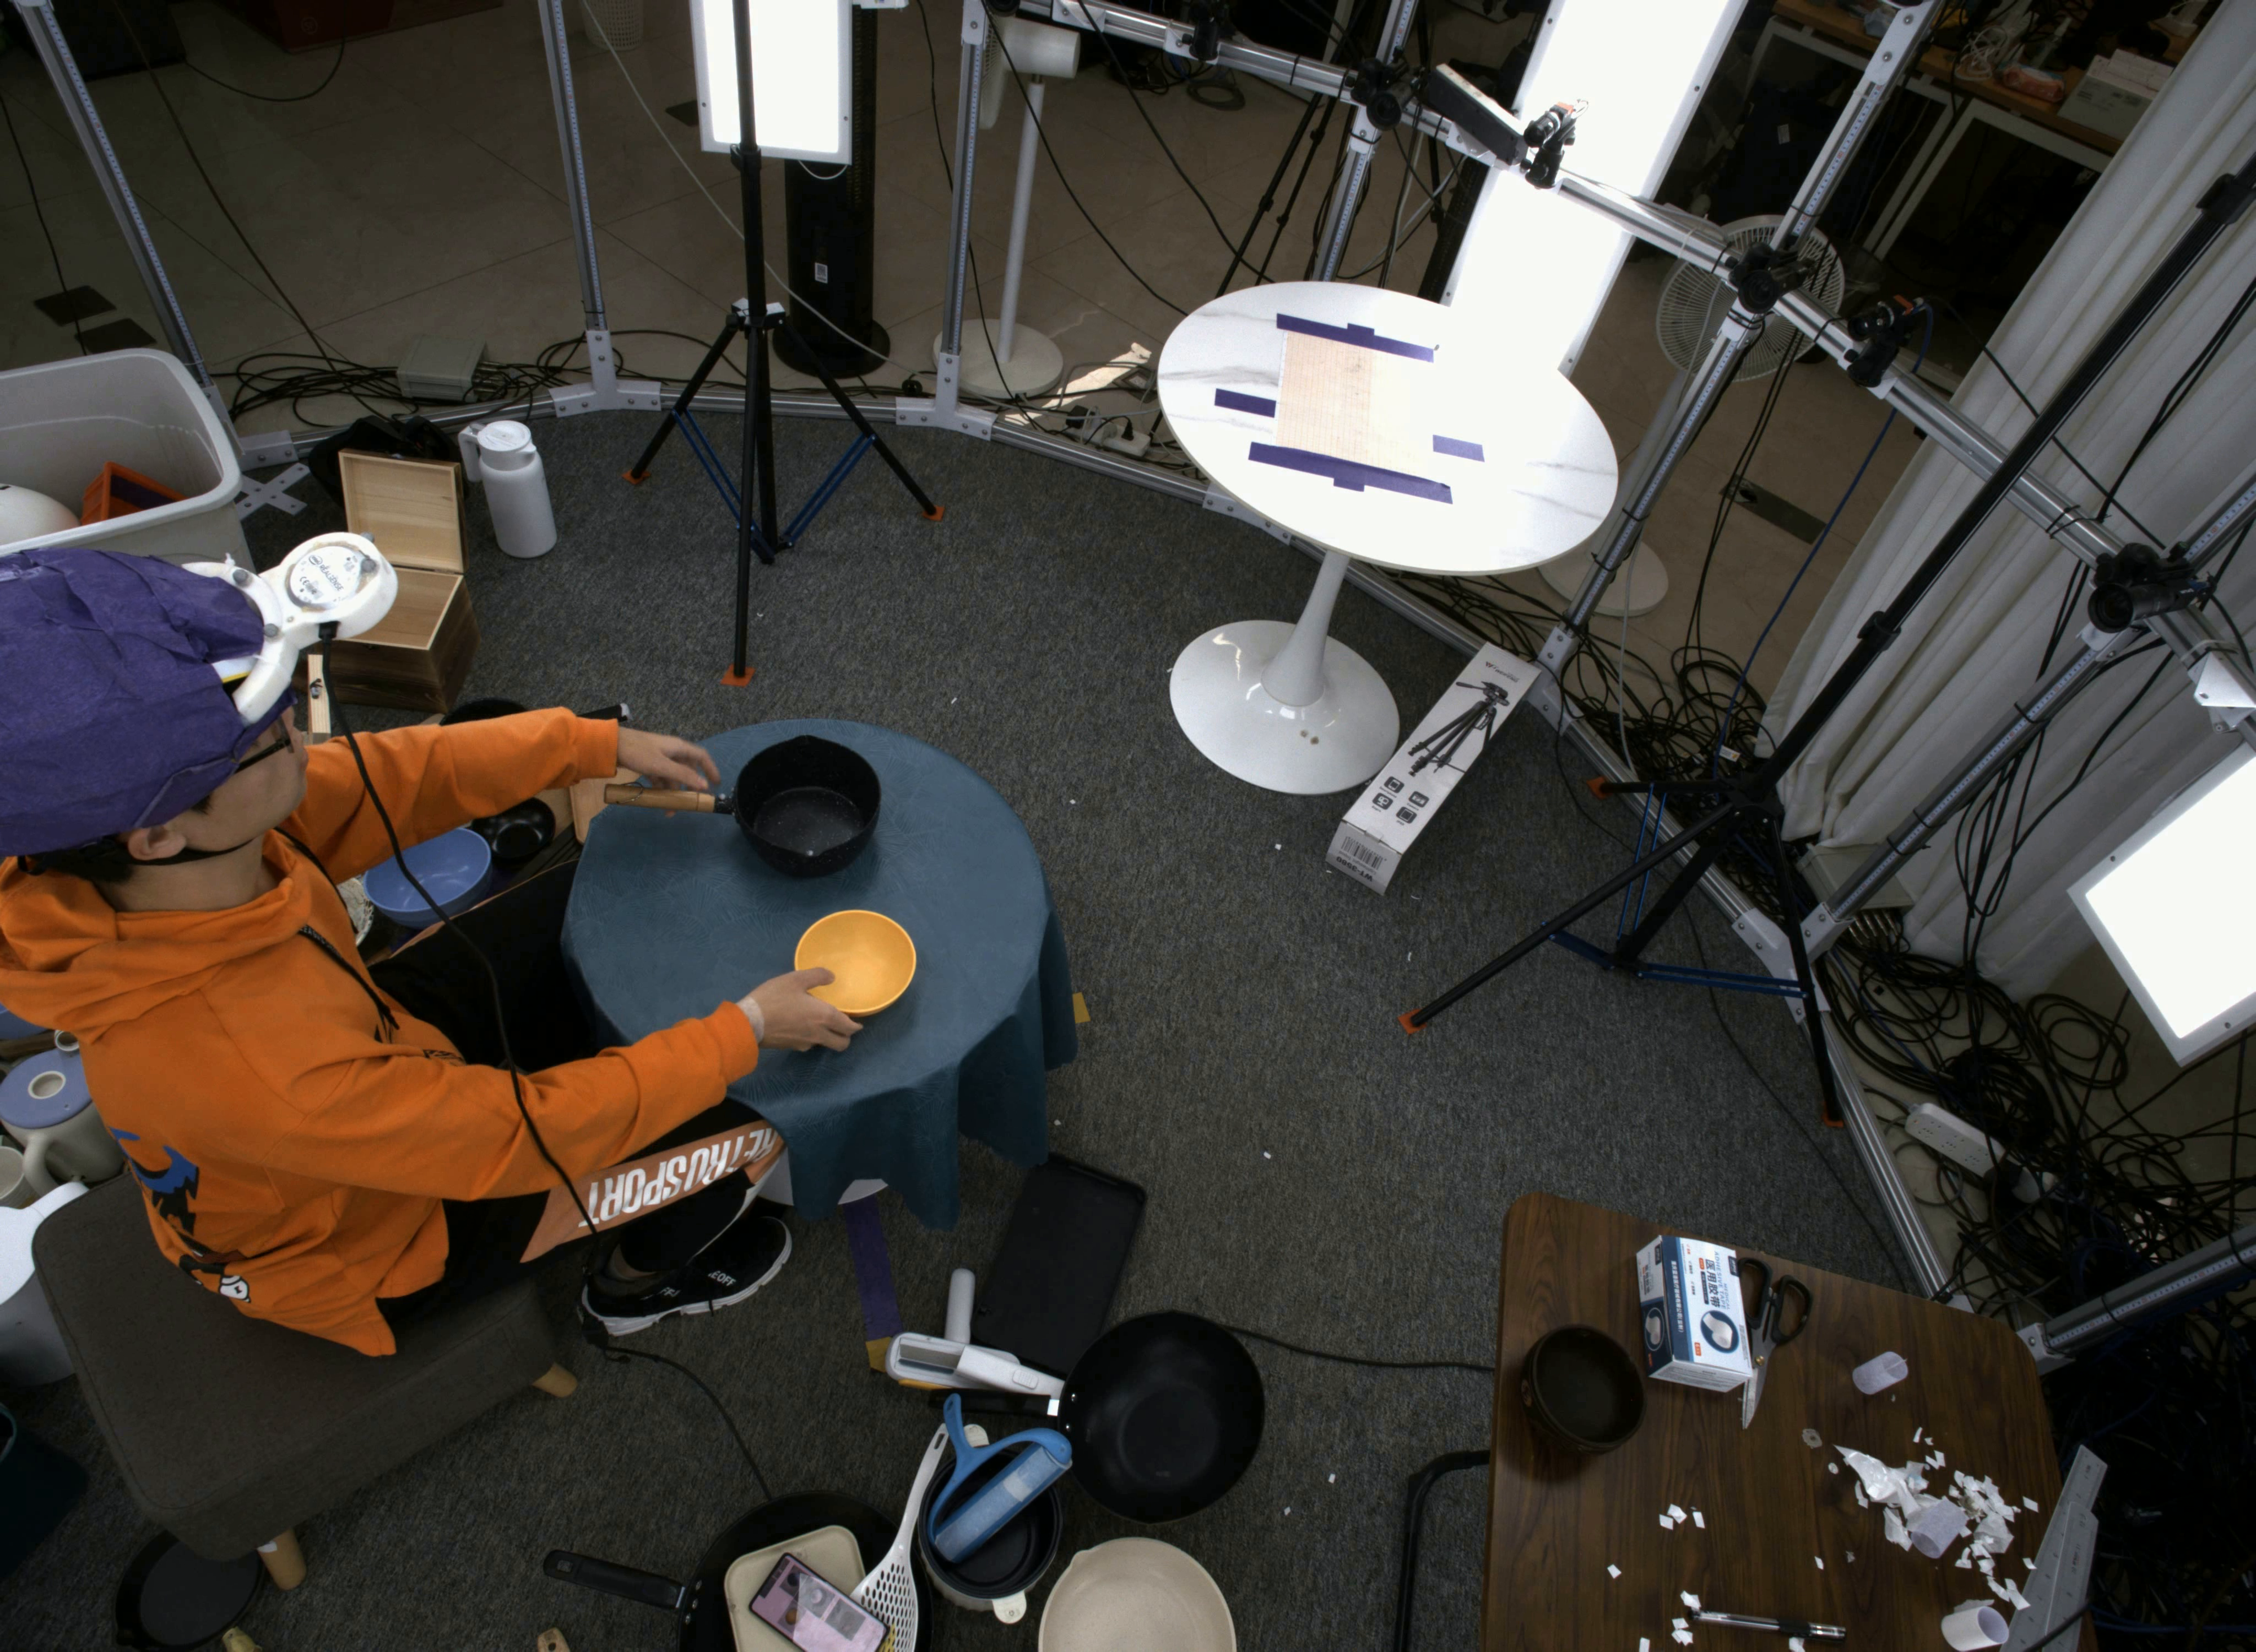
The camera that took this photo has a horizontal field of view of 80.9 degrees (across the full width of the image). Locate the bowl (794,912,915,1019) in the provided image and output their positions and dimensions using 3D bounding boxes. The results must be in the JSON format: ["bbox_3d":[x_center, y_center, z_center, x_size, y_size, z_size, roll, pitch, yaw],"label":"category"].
[{"bbox_3d":[-0.329,0.177,1.568,0.145,0.061,0.142,8,51,-8],"label":"bowl"}]

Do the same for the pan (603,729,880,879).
[{"bbox_3d":[-0.489,-0.021,1.643,0.344,0.110,0.203,-3,56,-19],"label":"pan"}]
